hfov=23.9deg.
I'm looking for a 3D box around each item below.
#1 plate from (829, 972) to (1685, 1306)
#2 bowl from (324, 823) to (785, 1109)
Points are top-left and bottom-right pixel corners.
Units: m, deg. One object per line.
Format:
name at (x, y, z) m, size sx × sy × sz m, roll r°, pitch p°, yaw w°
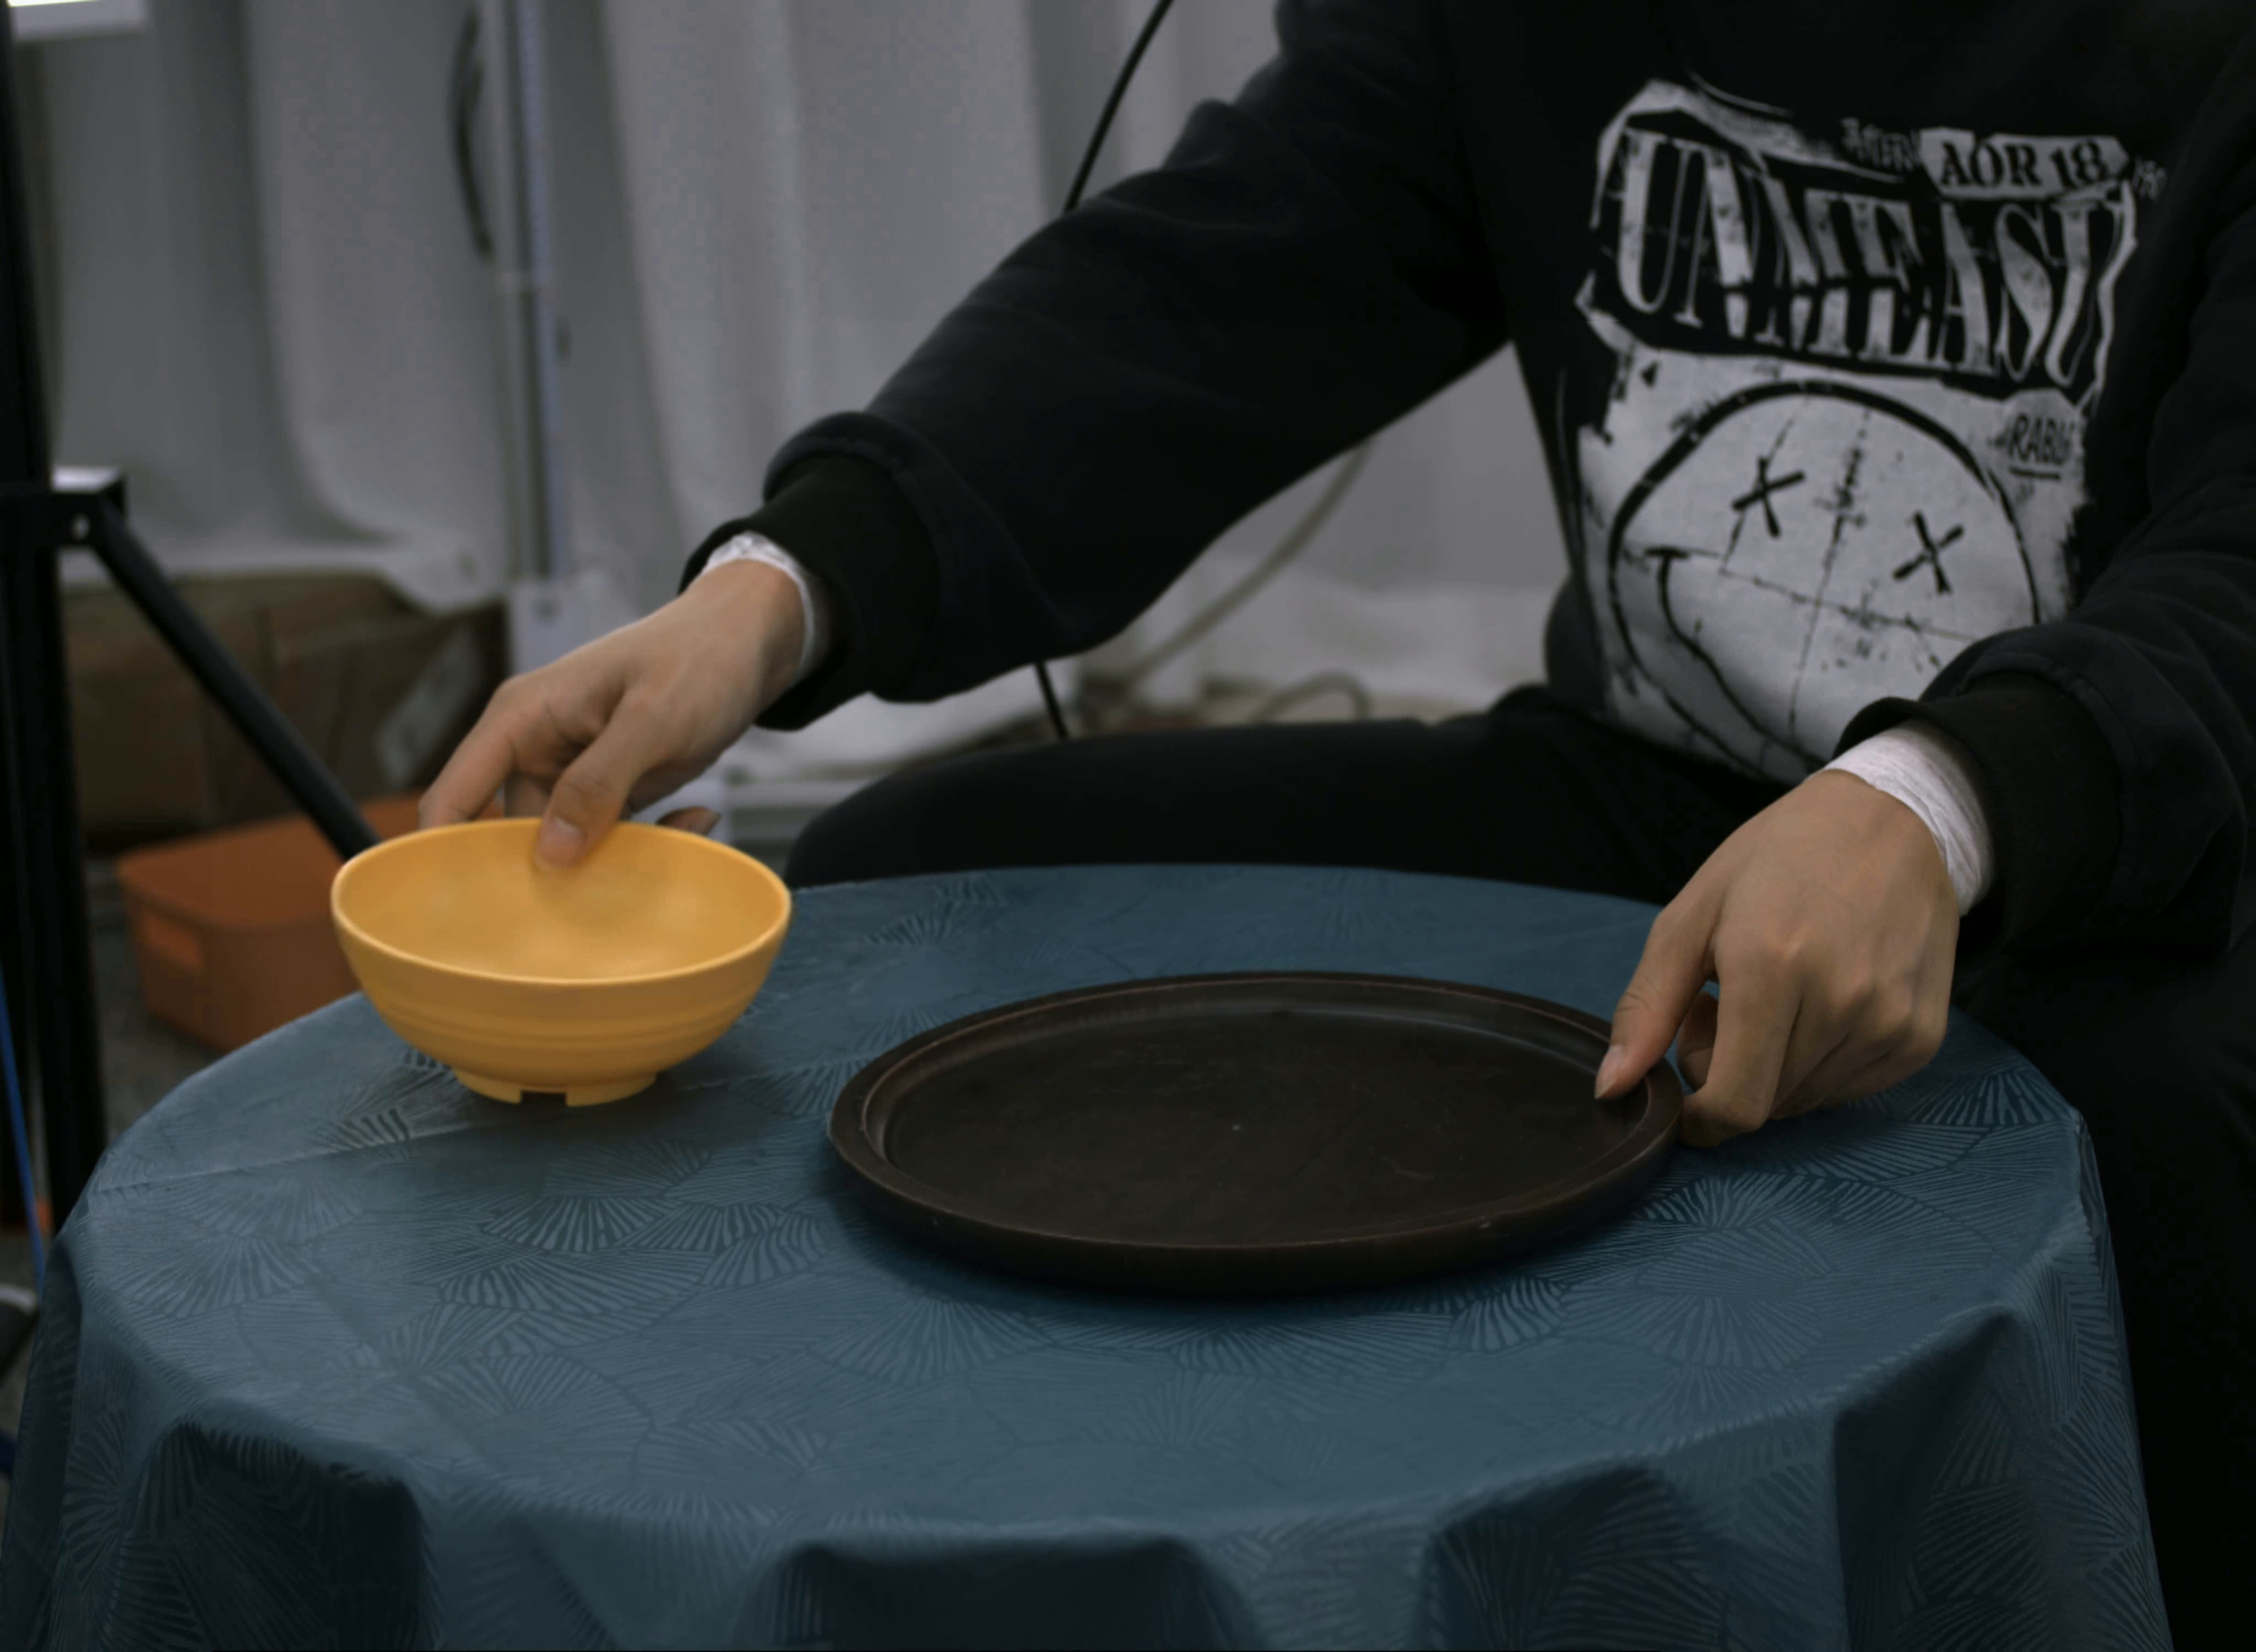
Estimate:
plate at (0.039, 0.091, 1.572) m, size 0.253 × 0.029 × 0.256 m, roll -4°, pitch 14°, yaw 0°
bowl at (-0.181, 0.050, 1.679) m, size 0.144 × 0.060 × 0.146 m, roll 3°, pitch 18°, yaw -2°
